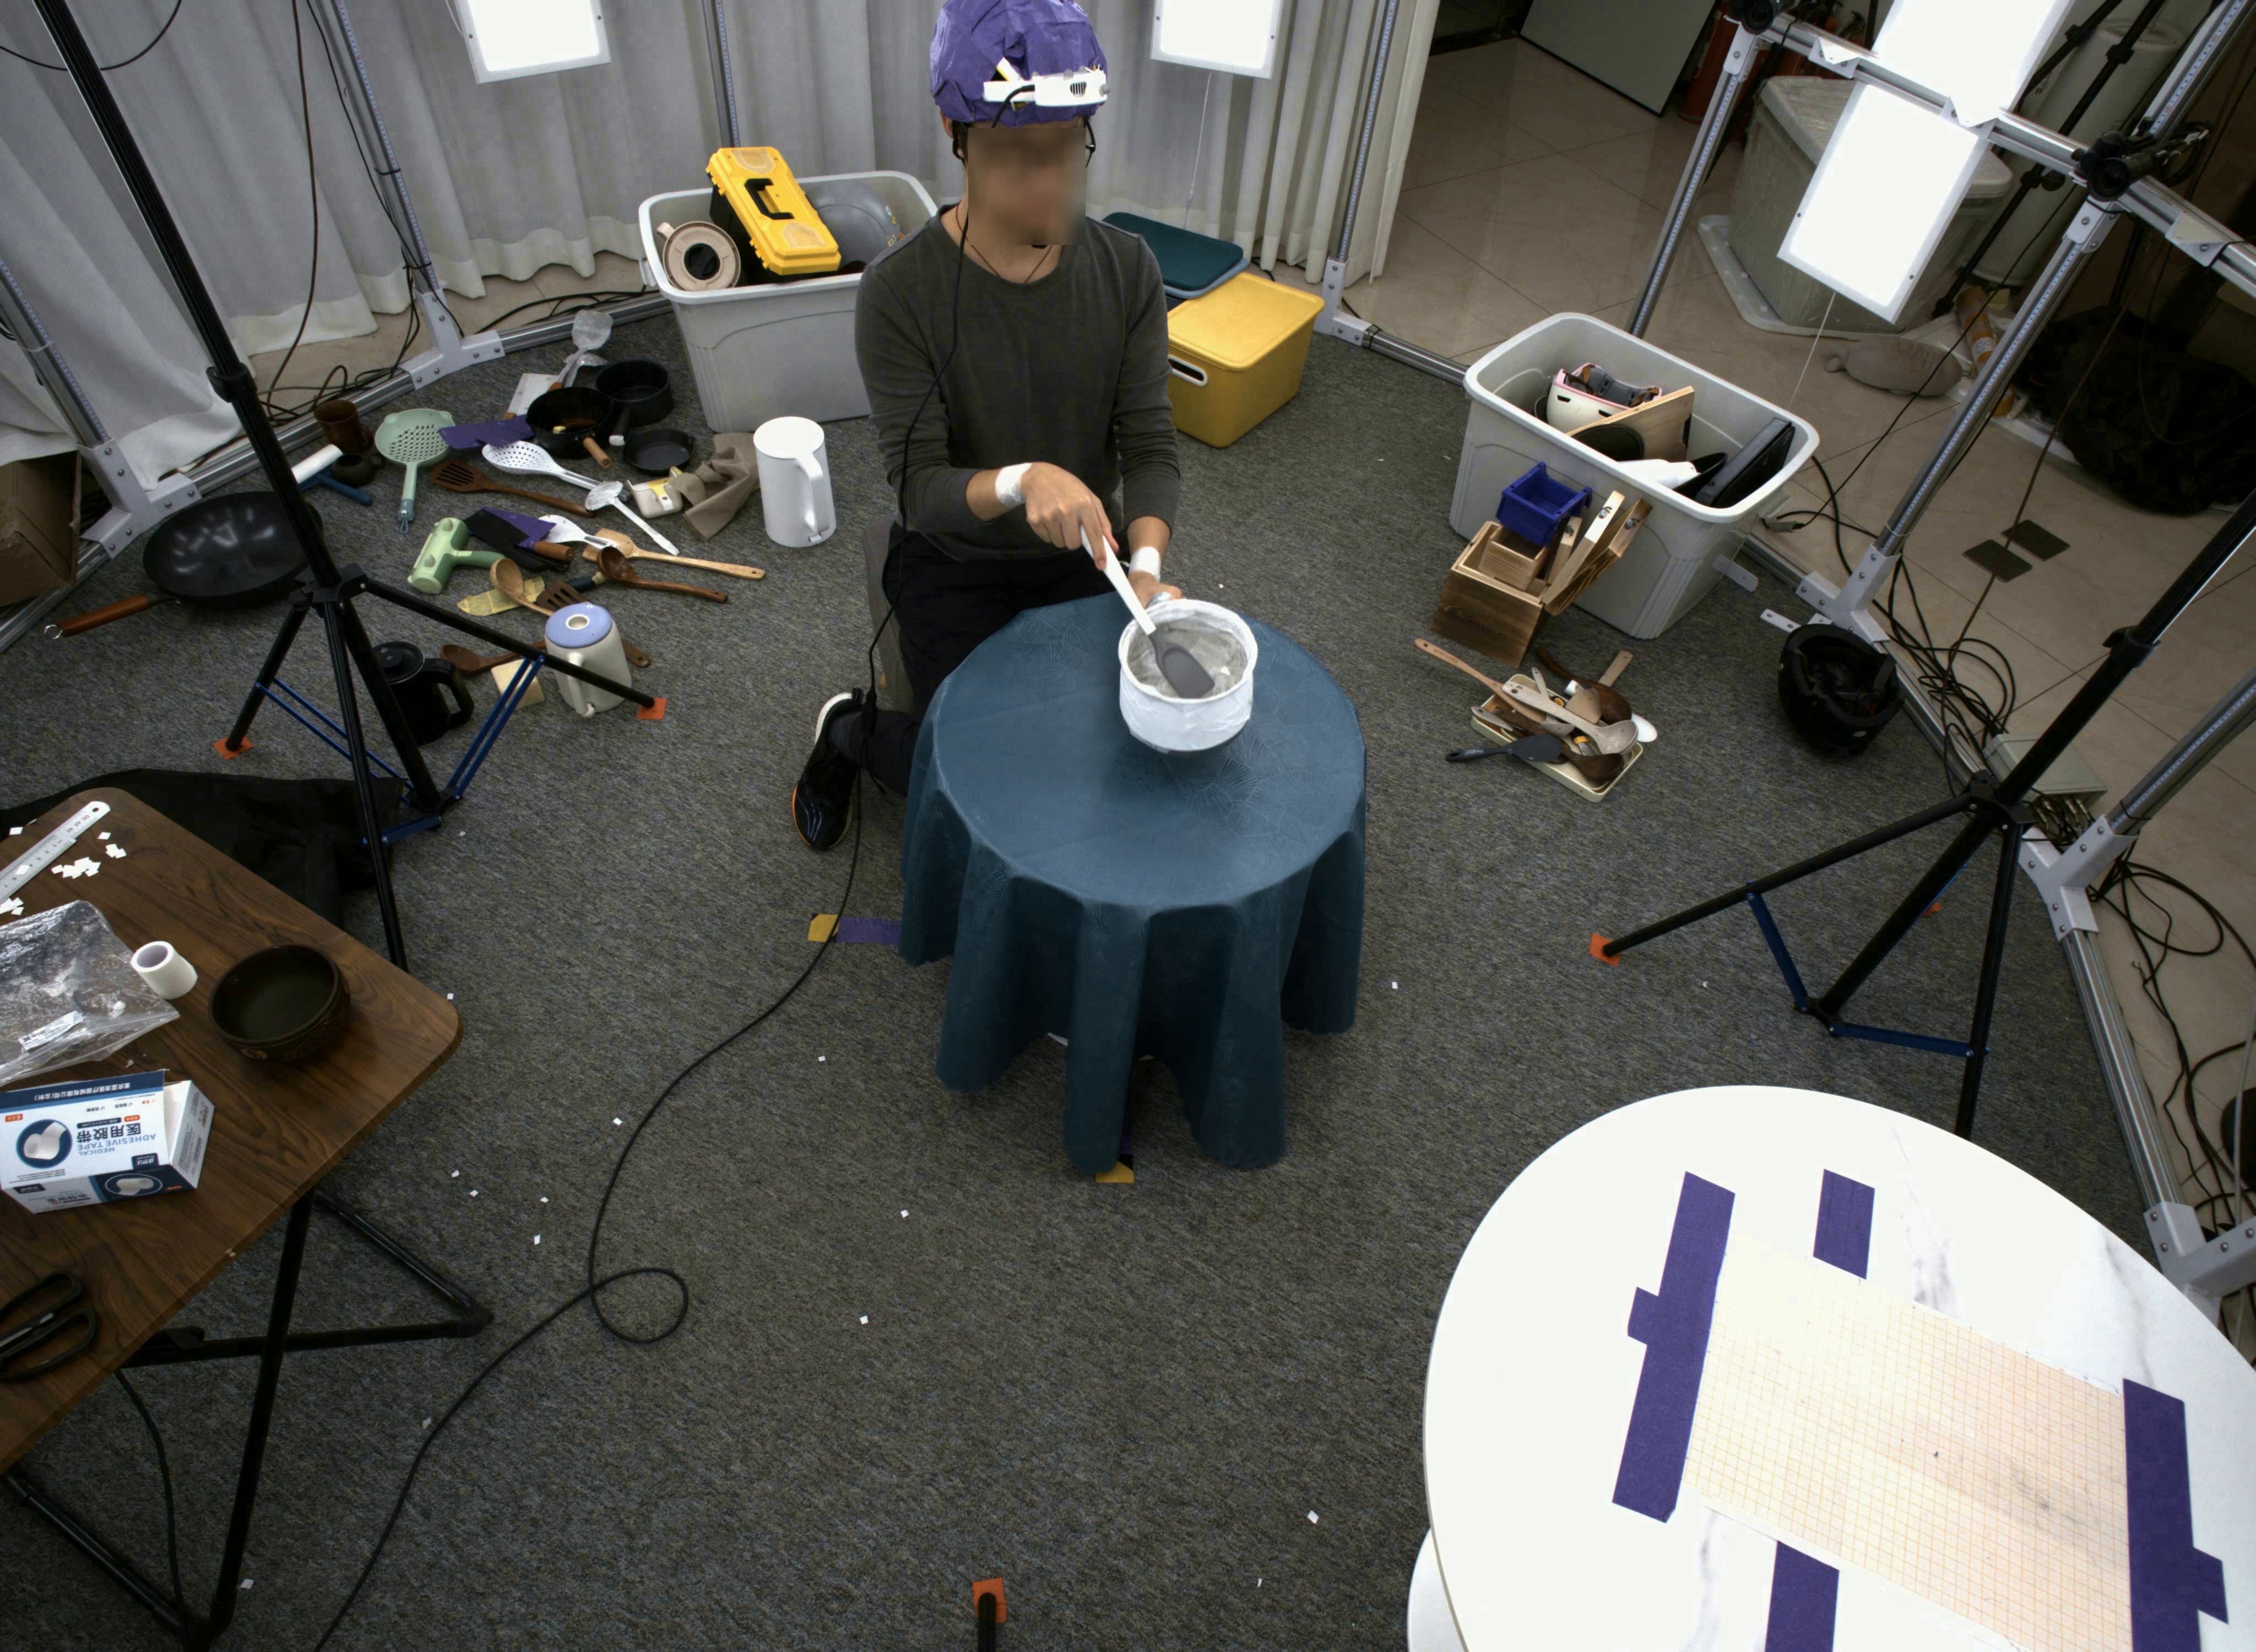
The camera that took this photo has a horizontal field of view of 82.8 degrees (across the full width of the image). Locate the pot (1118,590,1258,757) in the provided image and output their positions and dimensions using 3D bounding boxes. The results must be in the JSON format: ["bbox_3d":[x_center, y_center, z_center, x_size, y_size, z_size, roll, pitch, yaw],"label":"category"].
[{"bbox_3d":[0.067,-0.211,1.690,0.179,0.133,0.239,-15,55,-10],"label":"pot"}]

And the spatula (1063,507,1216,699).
[{"bbox_3d":[0.013,-0.281,1.648,0.059,0.032,0.286,-37,94,-22],"label":"spatula"}]
